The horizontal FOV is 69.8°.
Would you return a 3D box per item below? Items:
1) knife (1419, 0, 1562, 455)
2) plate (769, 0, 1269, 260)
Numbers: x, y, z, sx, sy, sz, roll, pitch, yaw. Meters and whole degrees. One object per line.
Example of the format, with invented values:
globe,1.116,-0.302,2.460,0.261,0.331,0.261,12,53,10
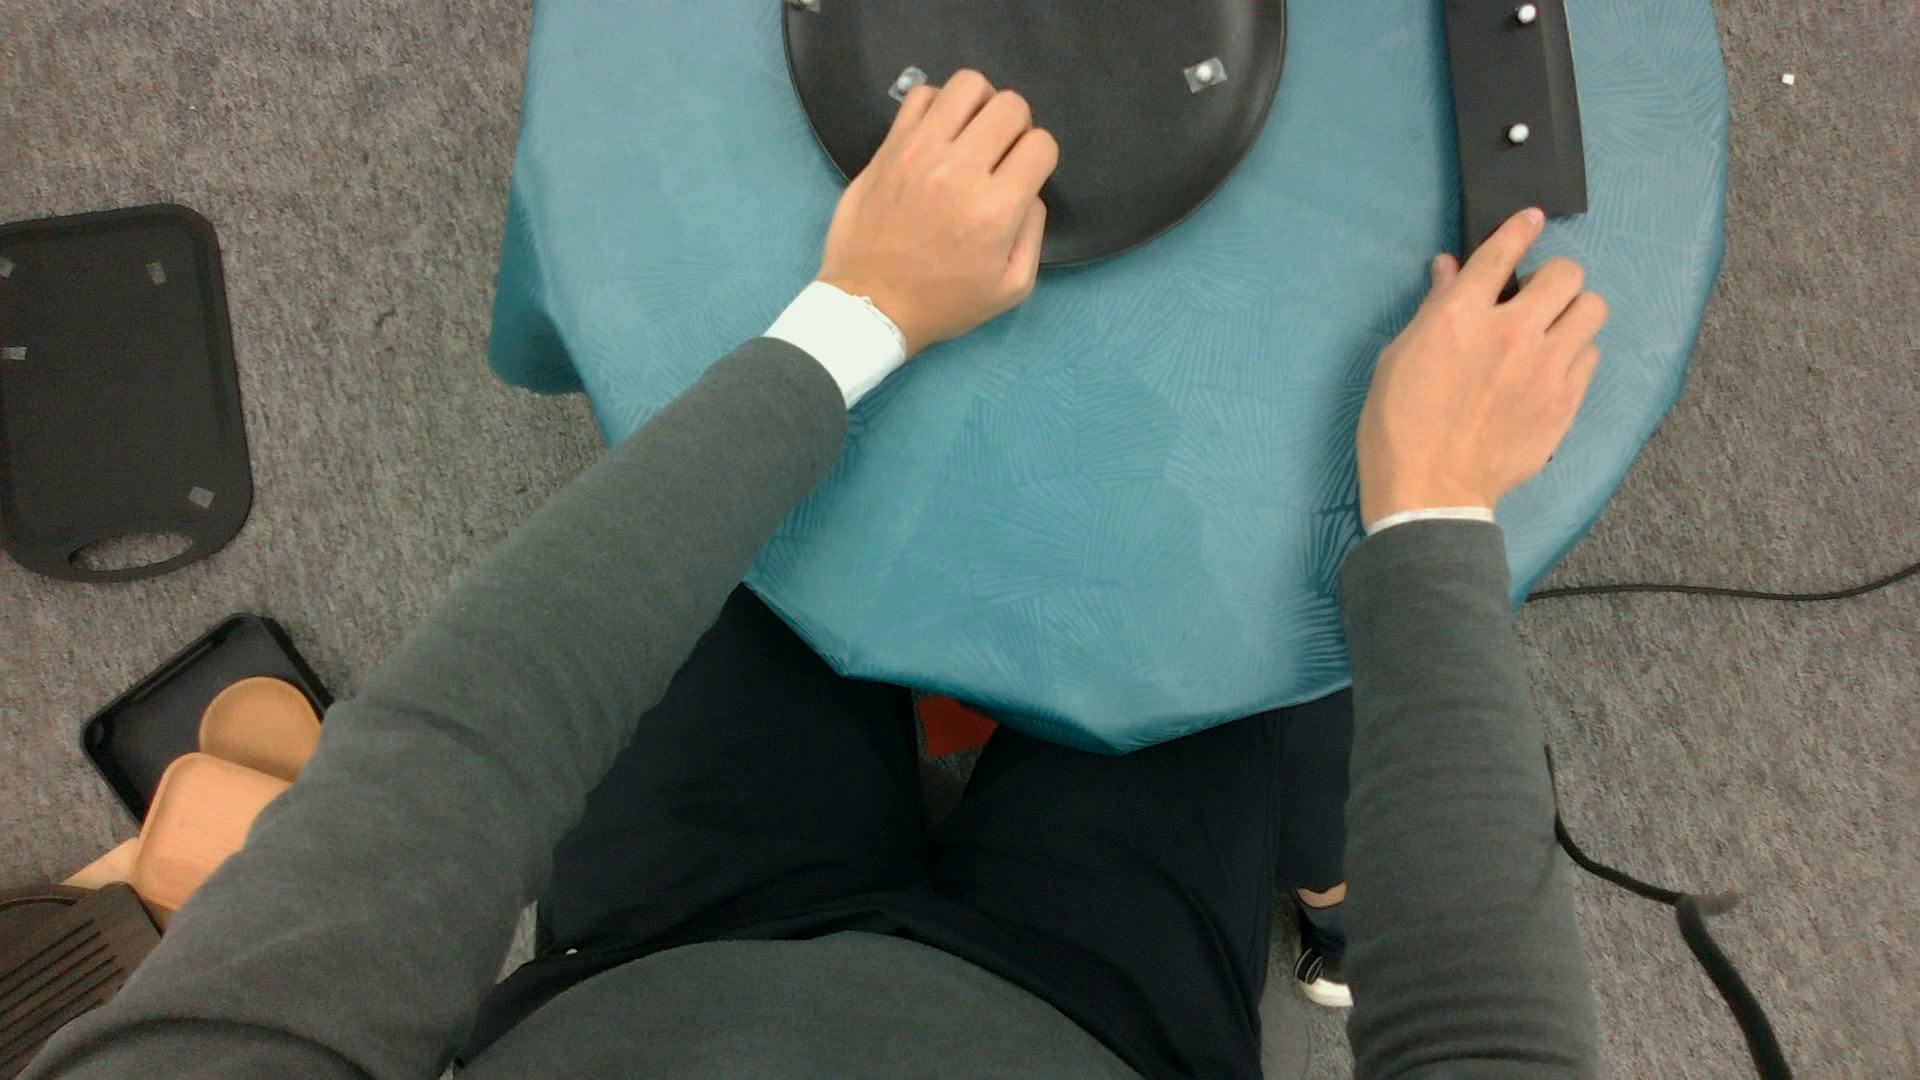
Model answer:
knife,0.262,-0.192,0.682,0.081,0.021,0.302,1,84,-9
plate,0.029,-0.255,0.675,0.244,0.023,0.244,0,86,-2
